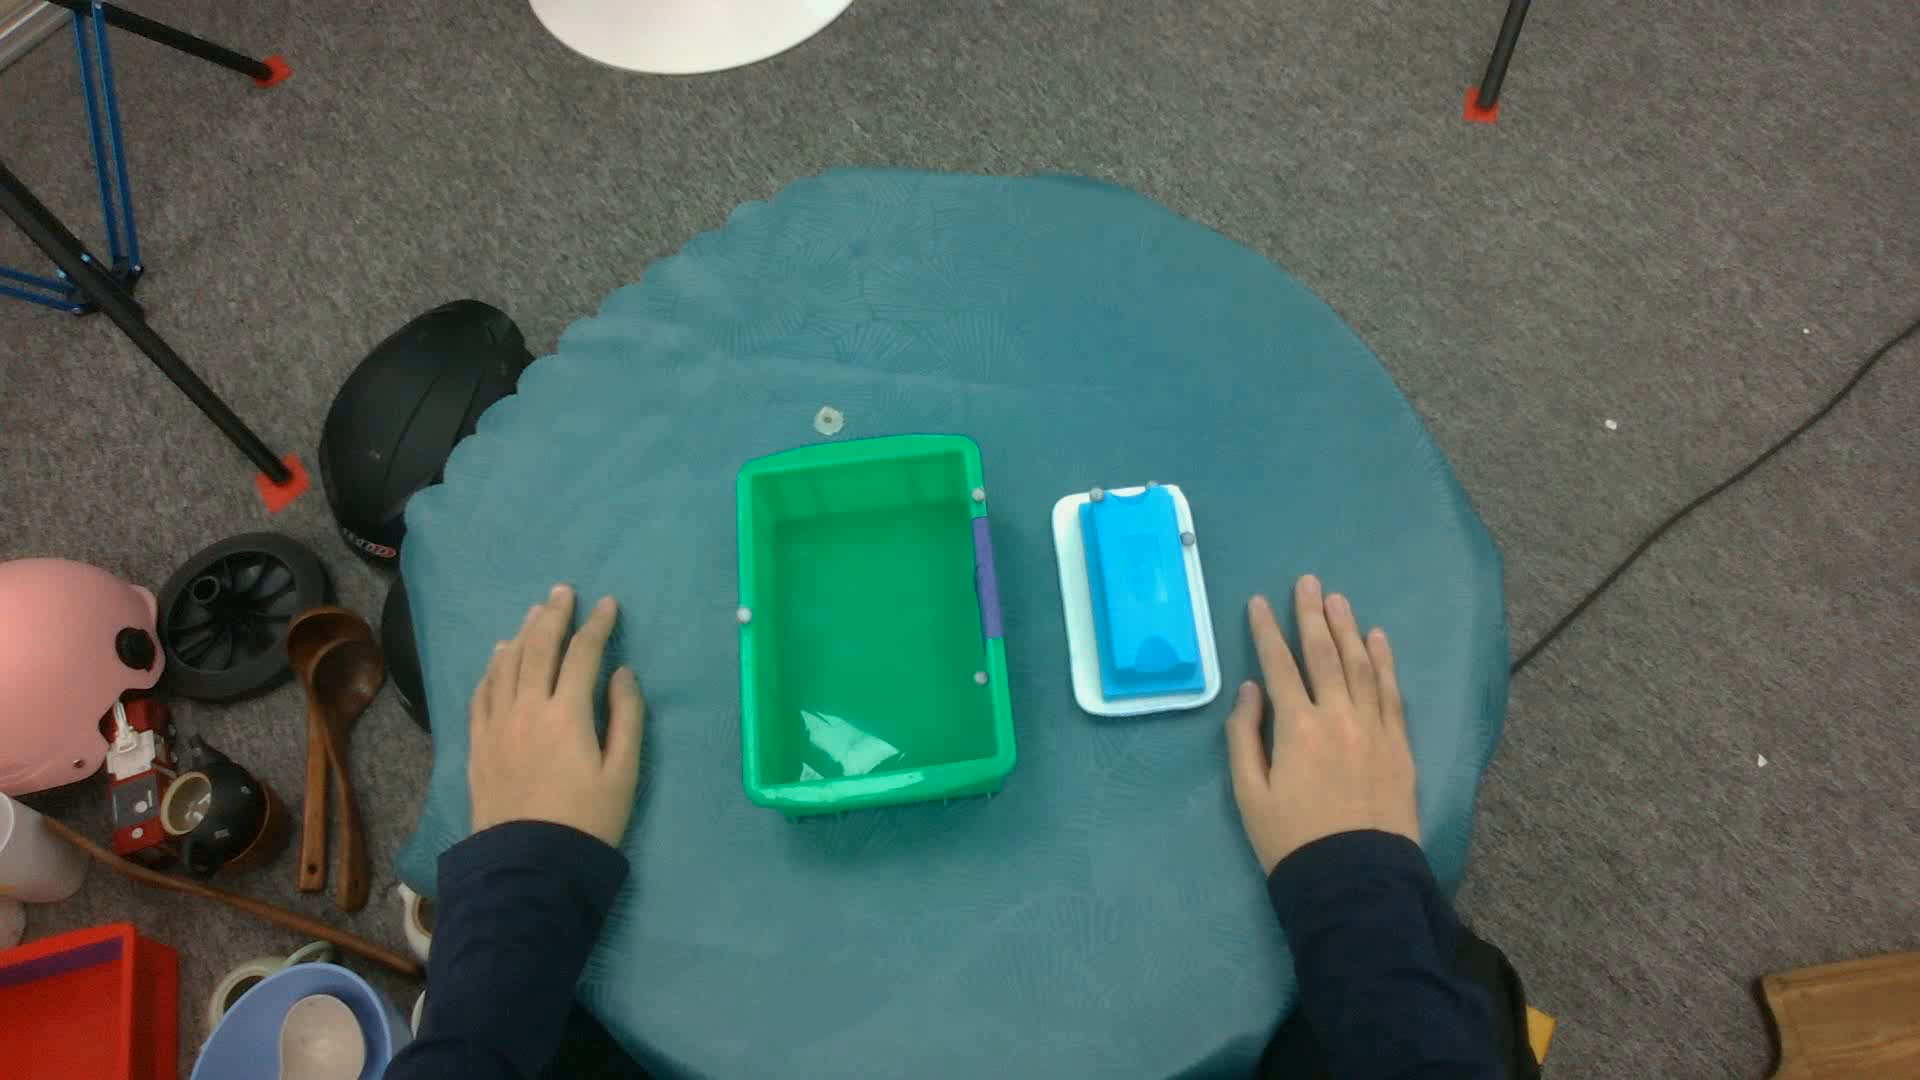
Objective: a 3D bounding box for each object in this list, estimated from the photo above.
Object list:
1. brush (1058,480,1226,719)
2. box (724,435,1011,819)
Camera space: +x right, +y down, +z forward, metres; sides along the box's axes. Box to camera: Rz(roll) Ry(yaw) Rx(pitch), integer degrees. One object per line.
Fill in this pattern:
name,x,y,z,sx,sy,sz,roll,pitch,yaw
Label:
brush,0.097,0.025,0.760,0.084,0.055,0.144,-7,57,3
box,-0.052,0.049,0.762,0.139,0.065,0.211,-8,61,-2
